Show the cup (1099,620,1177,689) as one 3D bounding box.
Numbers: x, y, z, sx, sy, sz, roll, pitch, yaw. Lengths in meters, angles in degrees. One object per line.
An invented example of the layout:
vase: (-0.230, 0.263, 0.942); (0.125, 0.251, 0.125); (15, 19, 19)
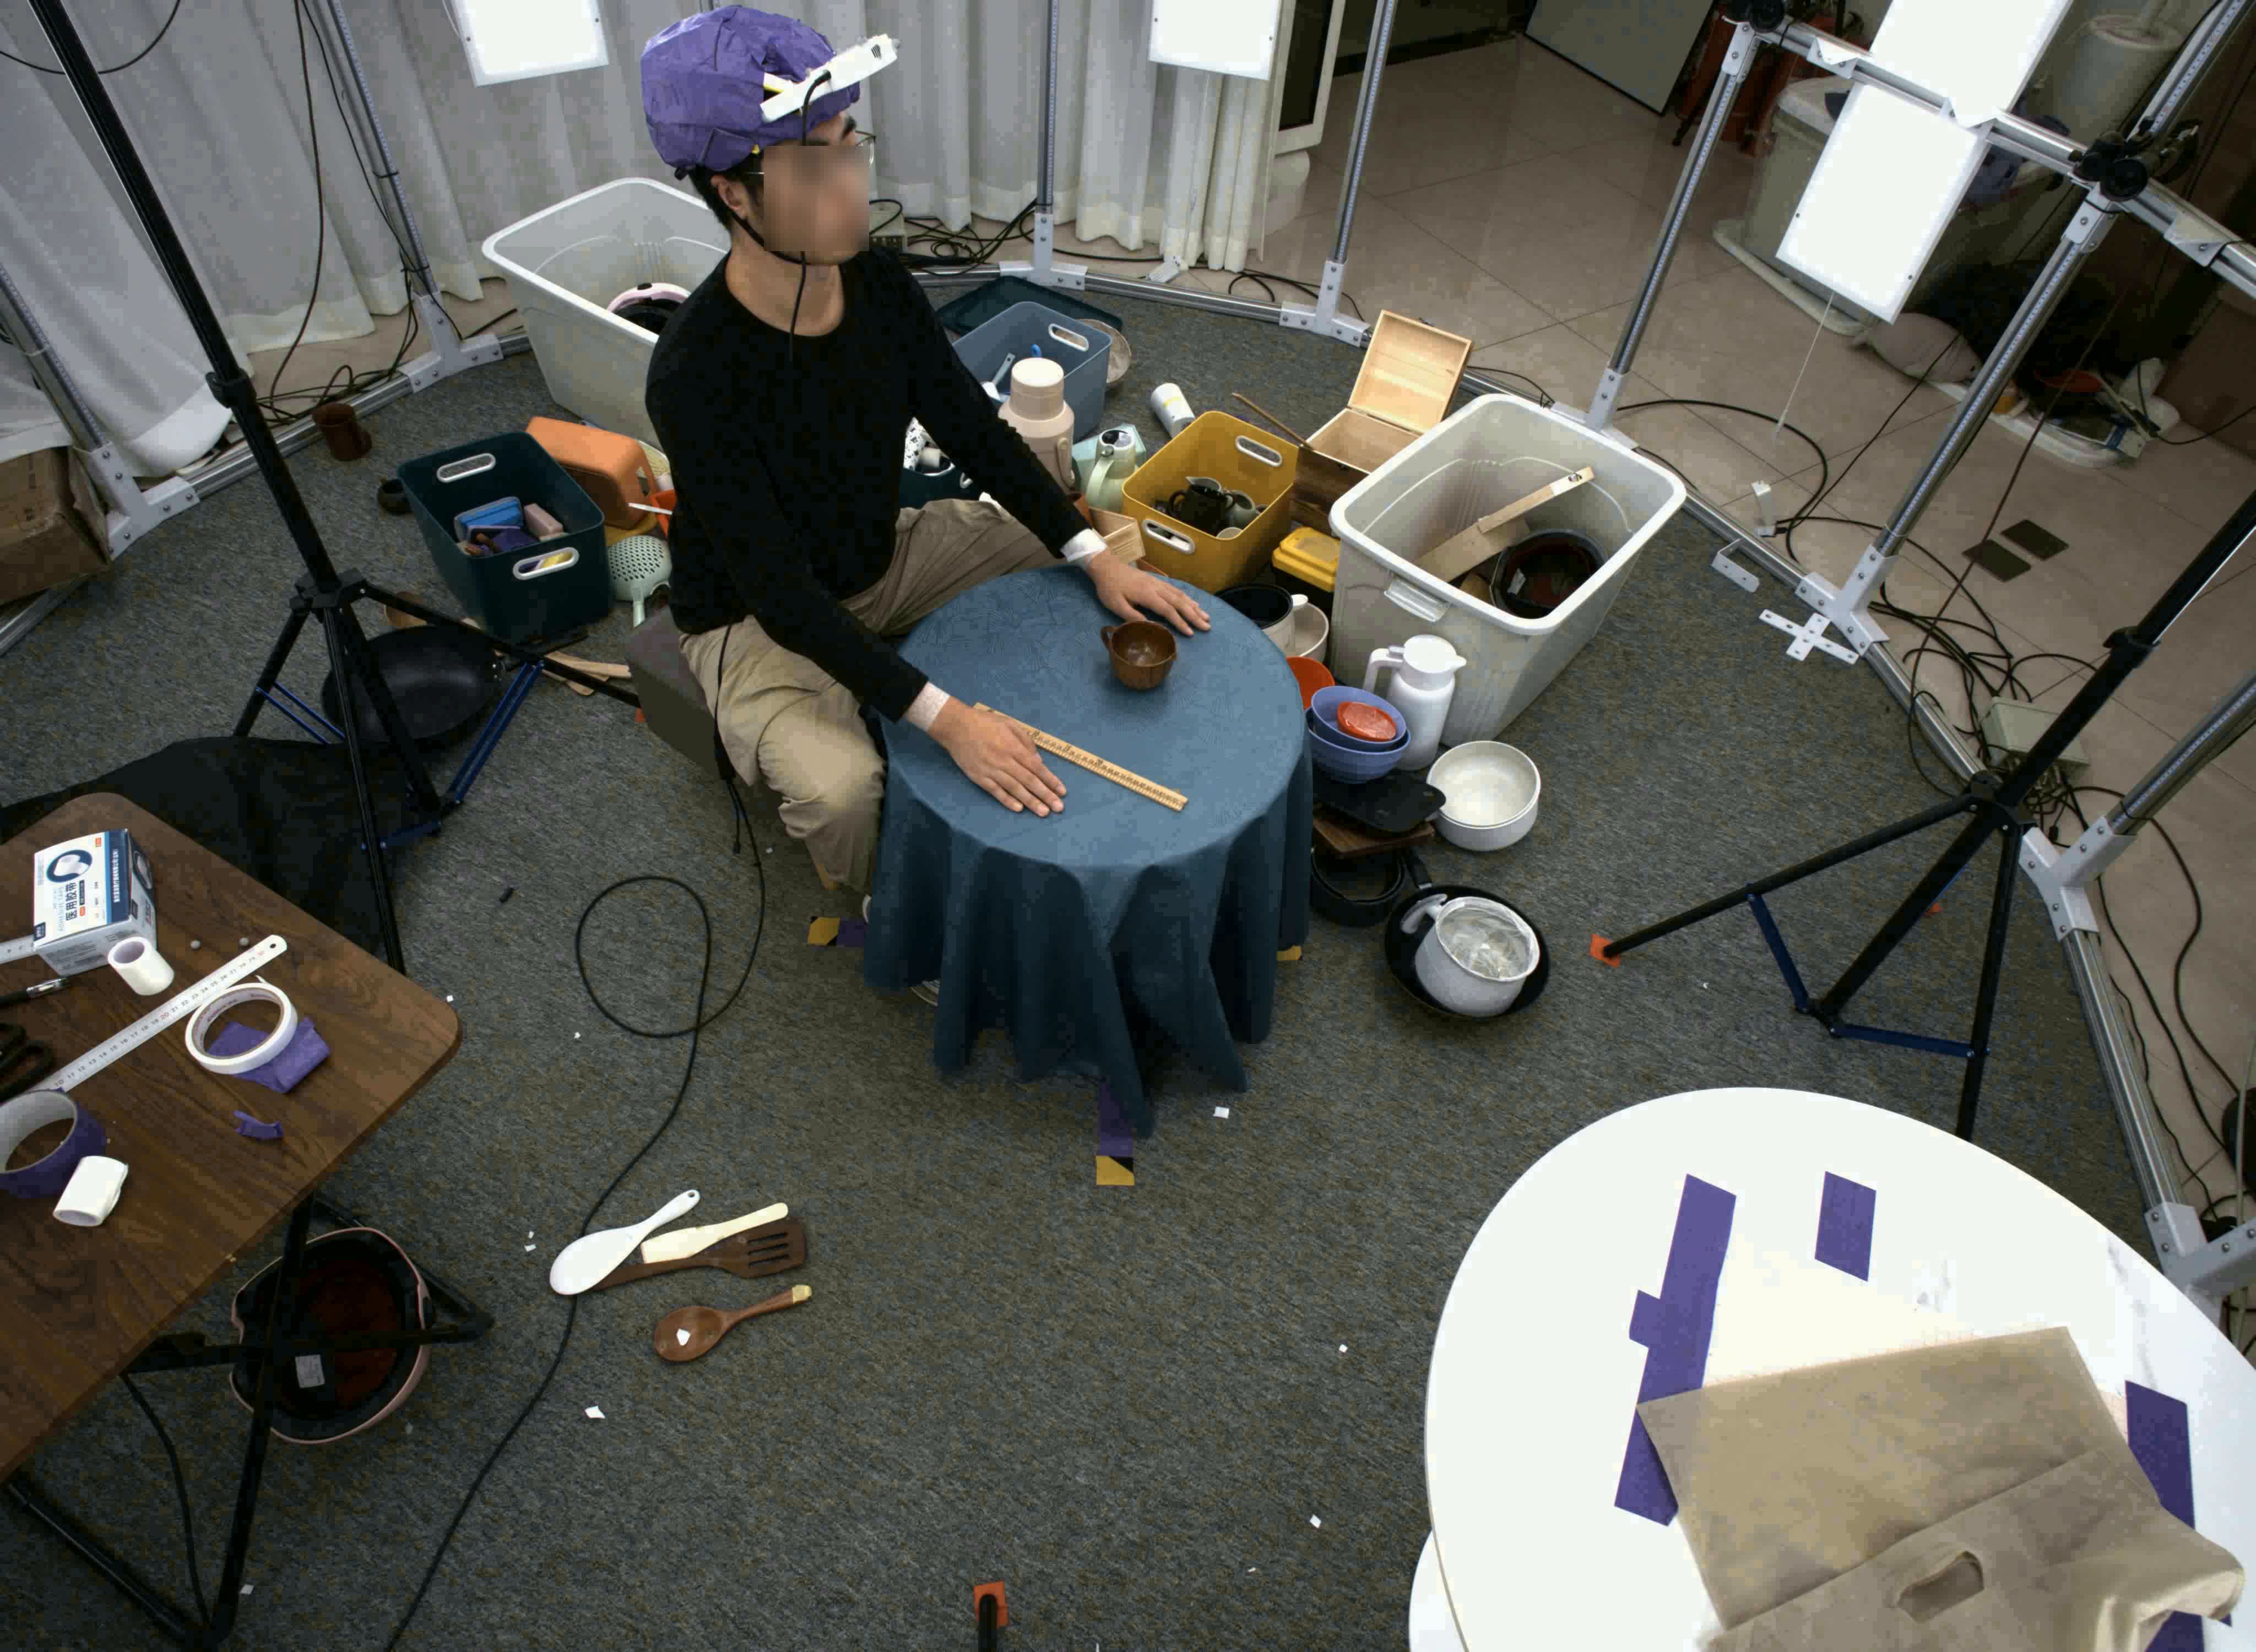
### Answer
cup: (0.011, -0.246, 1.842); (0.121, 0.066, 0.097); (29, 55, 21)

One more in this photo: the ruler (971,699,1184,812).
ruler: (-0.072, -0.100, 1.745); (0.335, 0.021, 0.028); (27, 48, 18)
